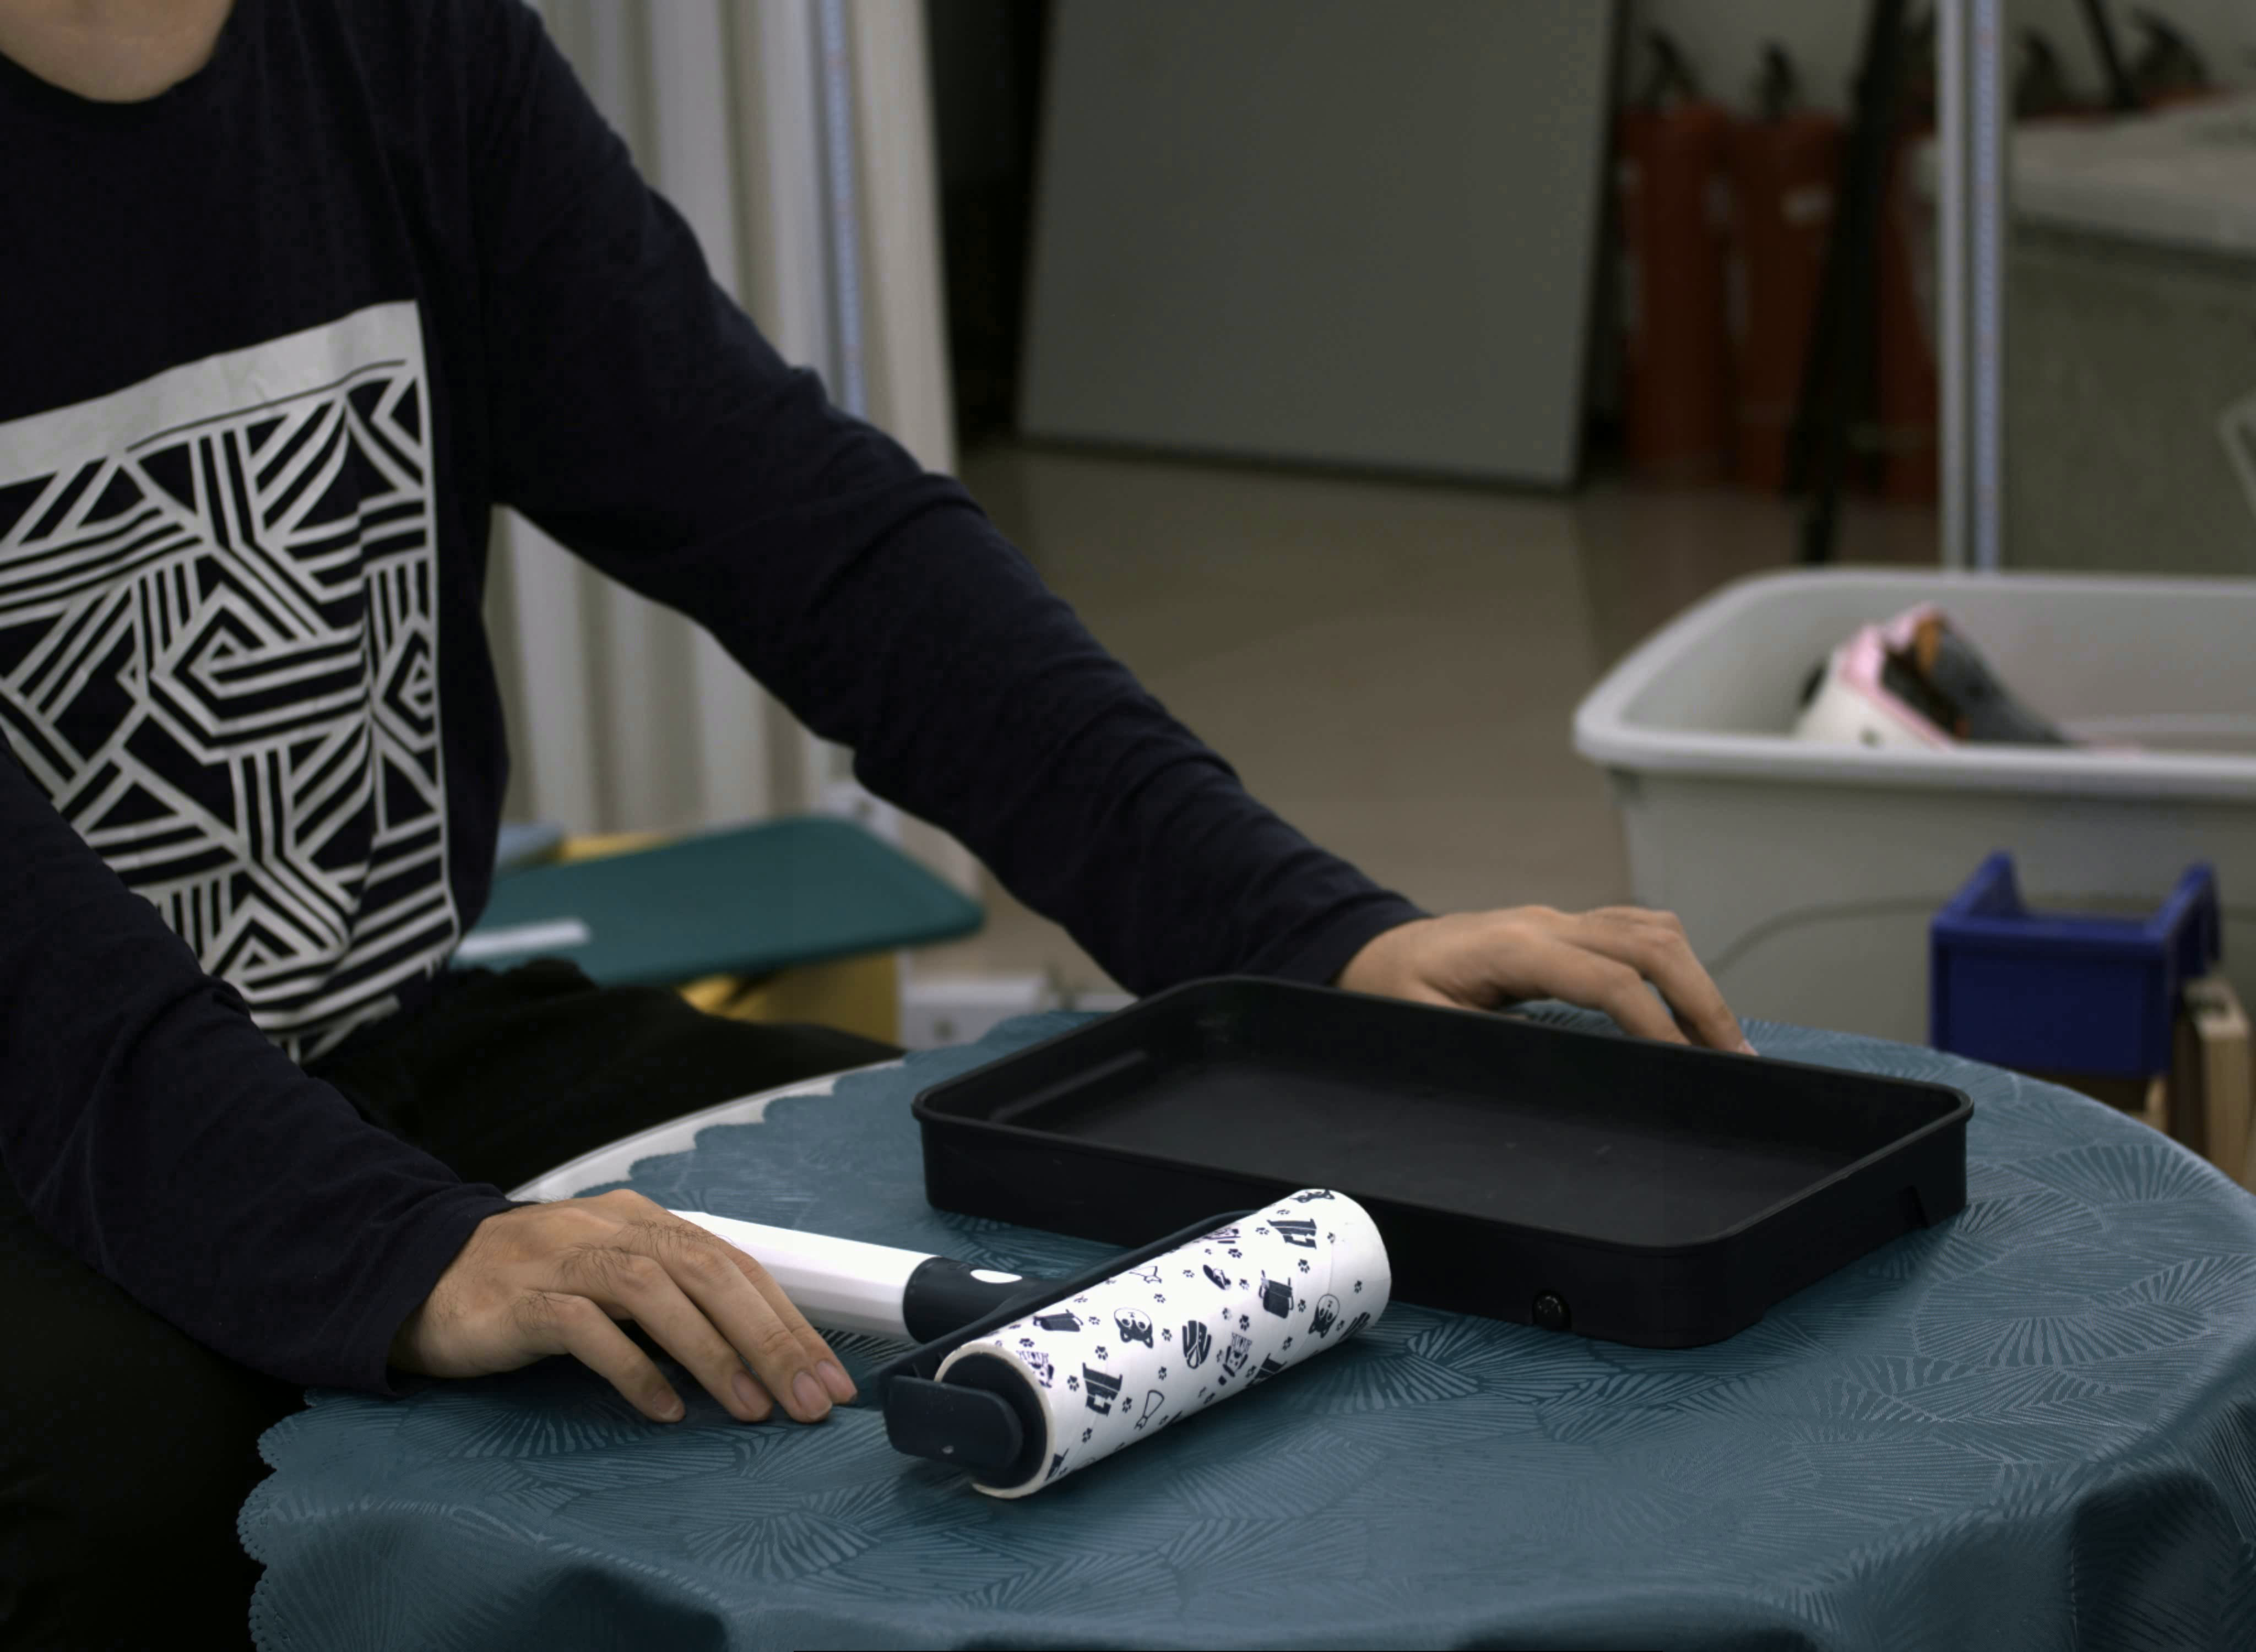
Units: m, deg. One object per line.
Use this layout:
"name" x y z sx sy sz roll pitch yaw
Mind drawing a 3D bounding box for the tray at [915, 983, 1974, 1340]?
"tray" 0.099 0.104 1.740 0.320 0.037 0.181 7 17 40

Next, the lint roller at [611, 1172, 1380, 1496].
"lint roller" -0.067 0.142 1.624 0.249 0.051 0.173 3 16 40
